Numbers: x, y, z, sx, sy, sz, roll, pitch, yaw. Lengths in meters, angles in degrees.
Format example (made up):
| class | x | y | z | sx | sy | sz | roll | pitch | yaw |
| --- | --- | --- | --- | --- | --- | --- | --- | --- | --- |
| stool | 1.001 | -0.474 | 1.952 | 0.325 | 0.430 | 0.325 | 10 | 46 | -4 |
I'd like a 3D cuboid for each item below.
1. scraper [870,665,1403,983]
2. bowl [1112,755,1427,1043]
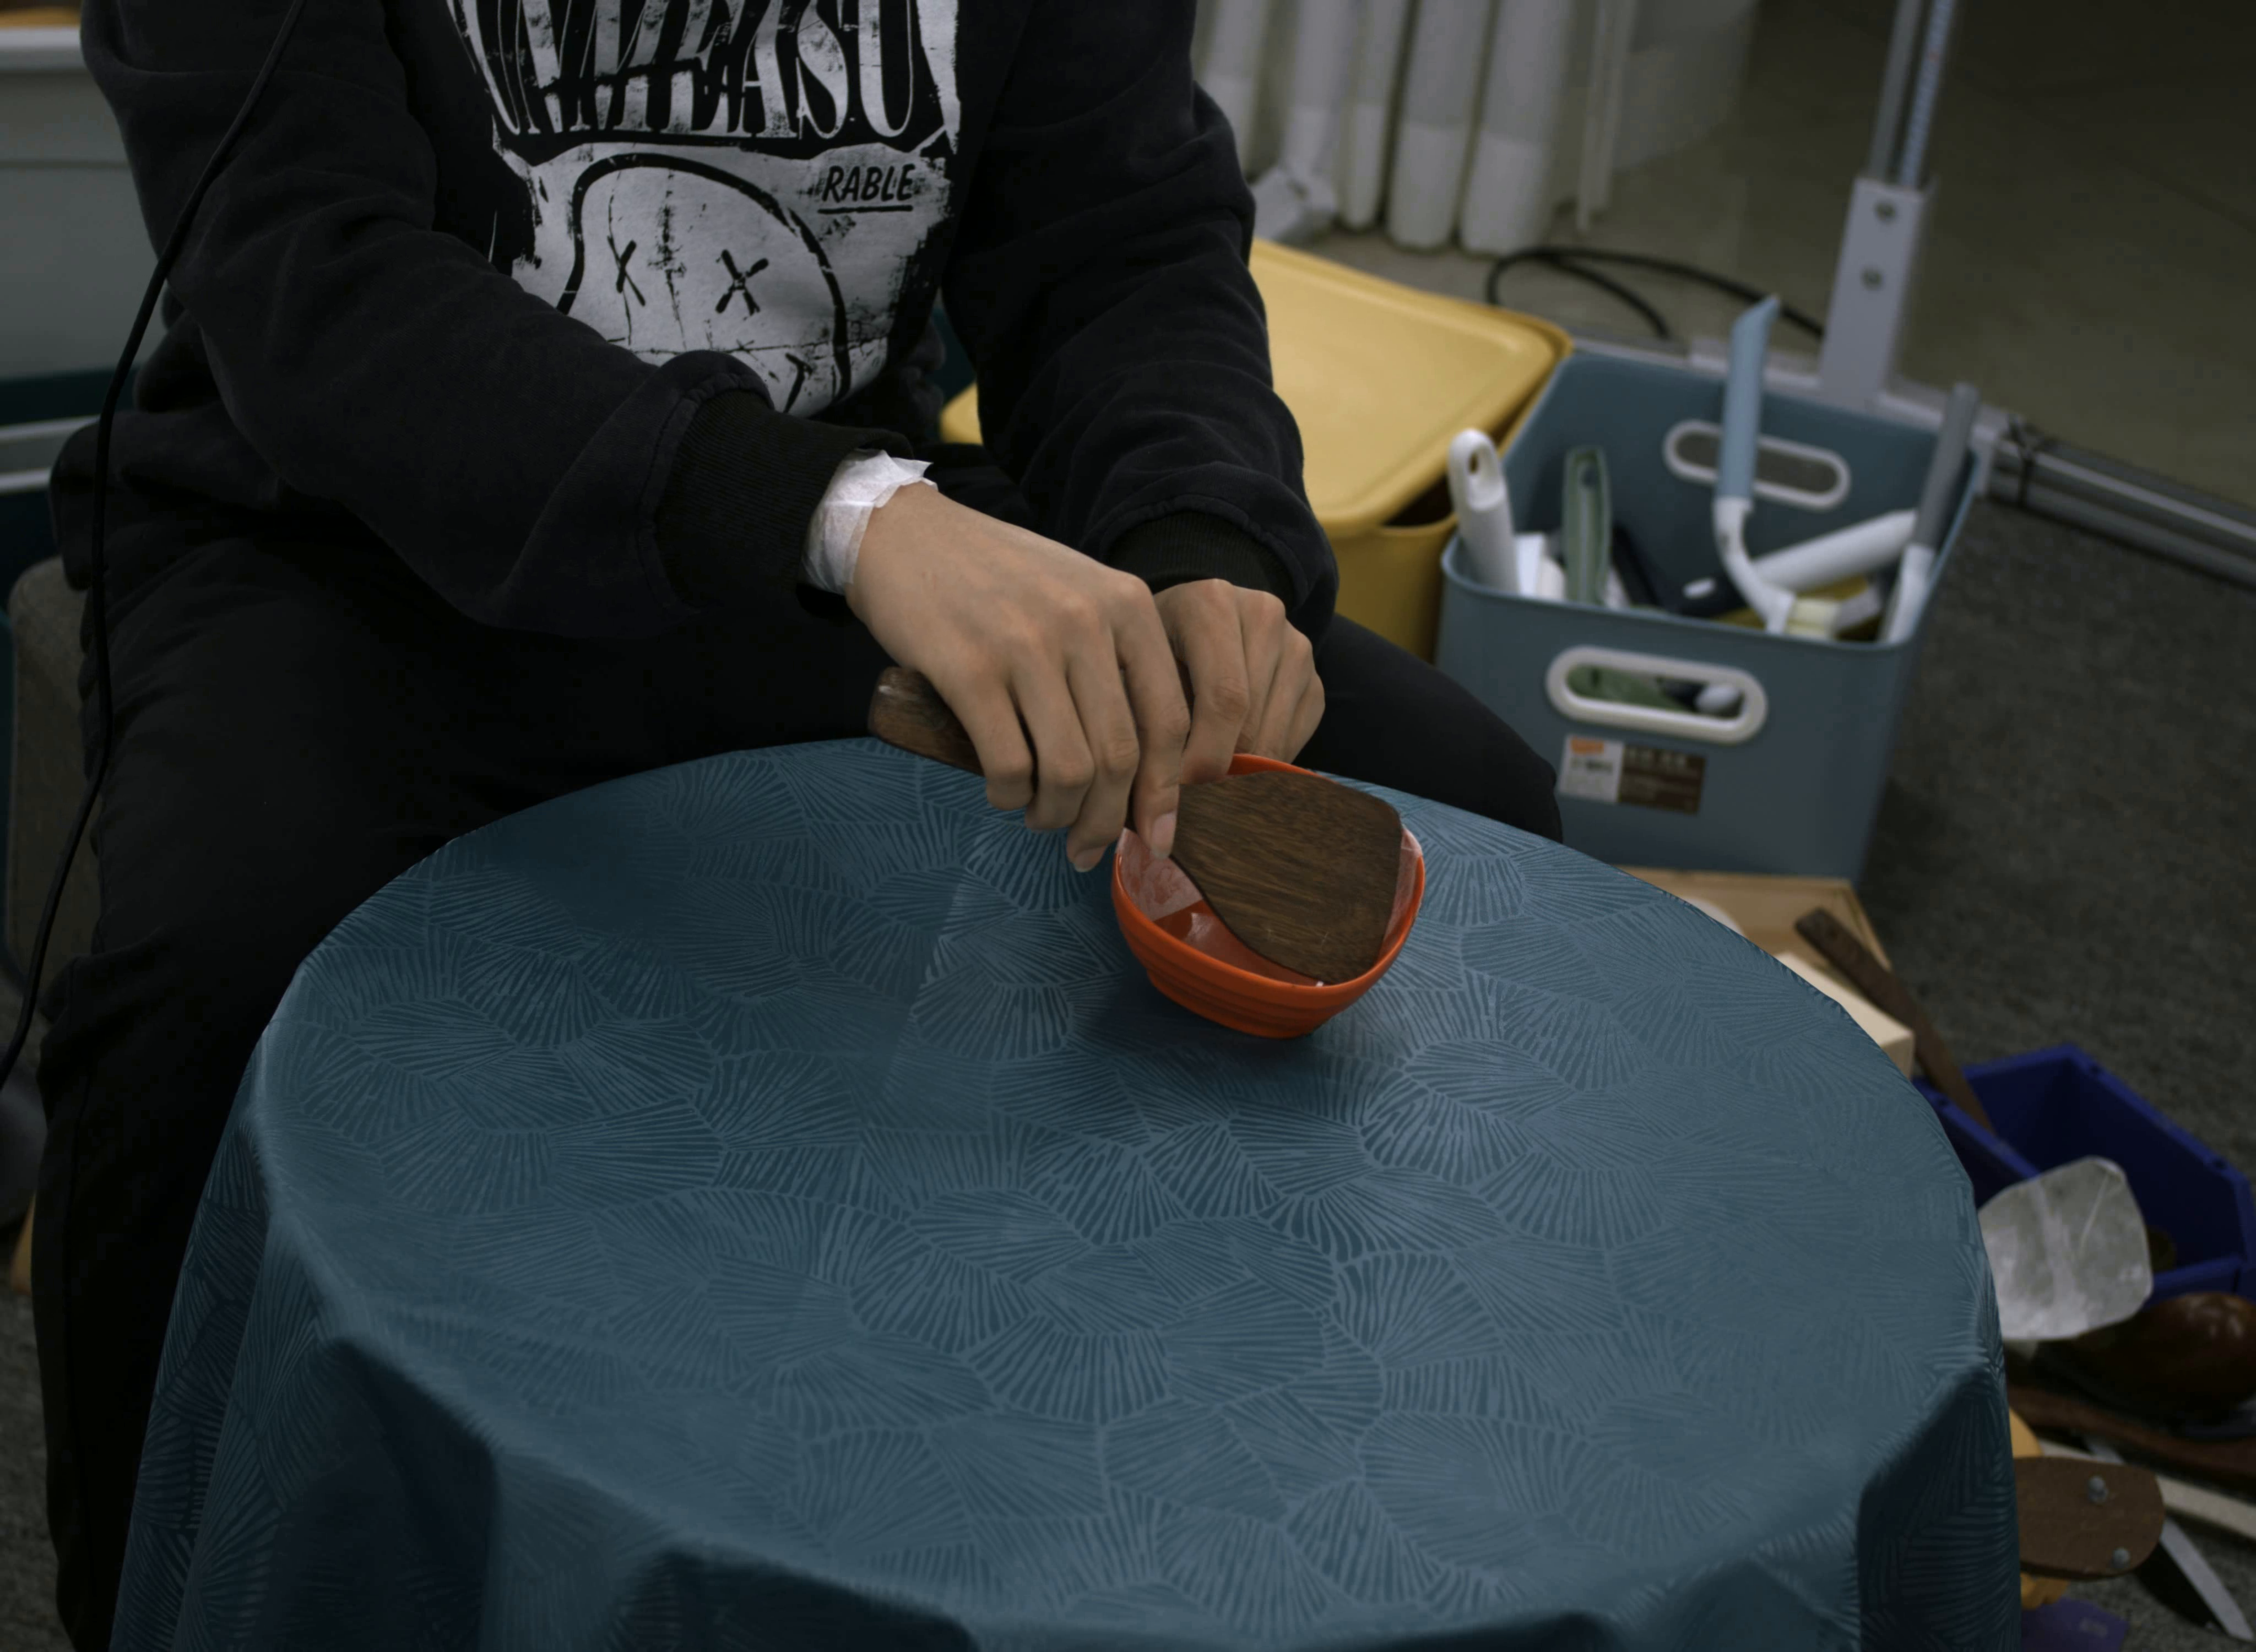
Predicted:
| class | x | y | z | sx | sy | sz | roll | pitch | yaw |
| --- | --- | --- | --- | --- | --- | --- | --- | --- | --- |
| scraper | 0.003 | -0.009 | 1.861 | 0.209 | 0.076 | 0.011 | 22 | -21 | -22 |
| bowl | 0.047 | 0.033 | 1.914 | 0.118 | 0.051 | 0.120 | 7 | 45 | -7 |
